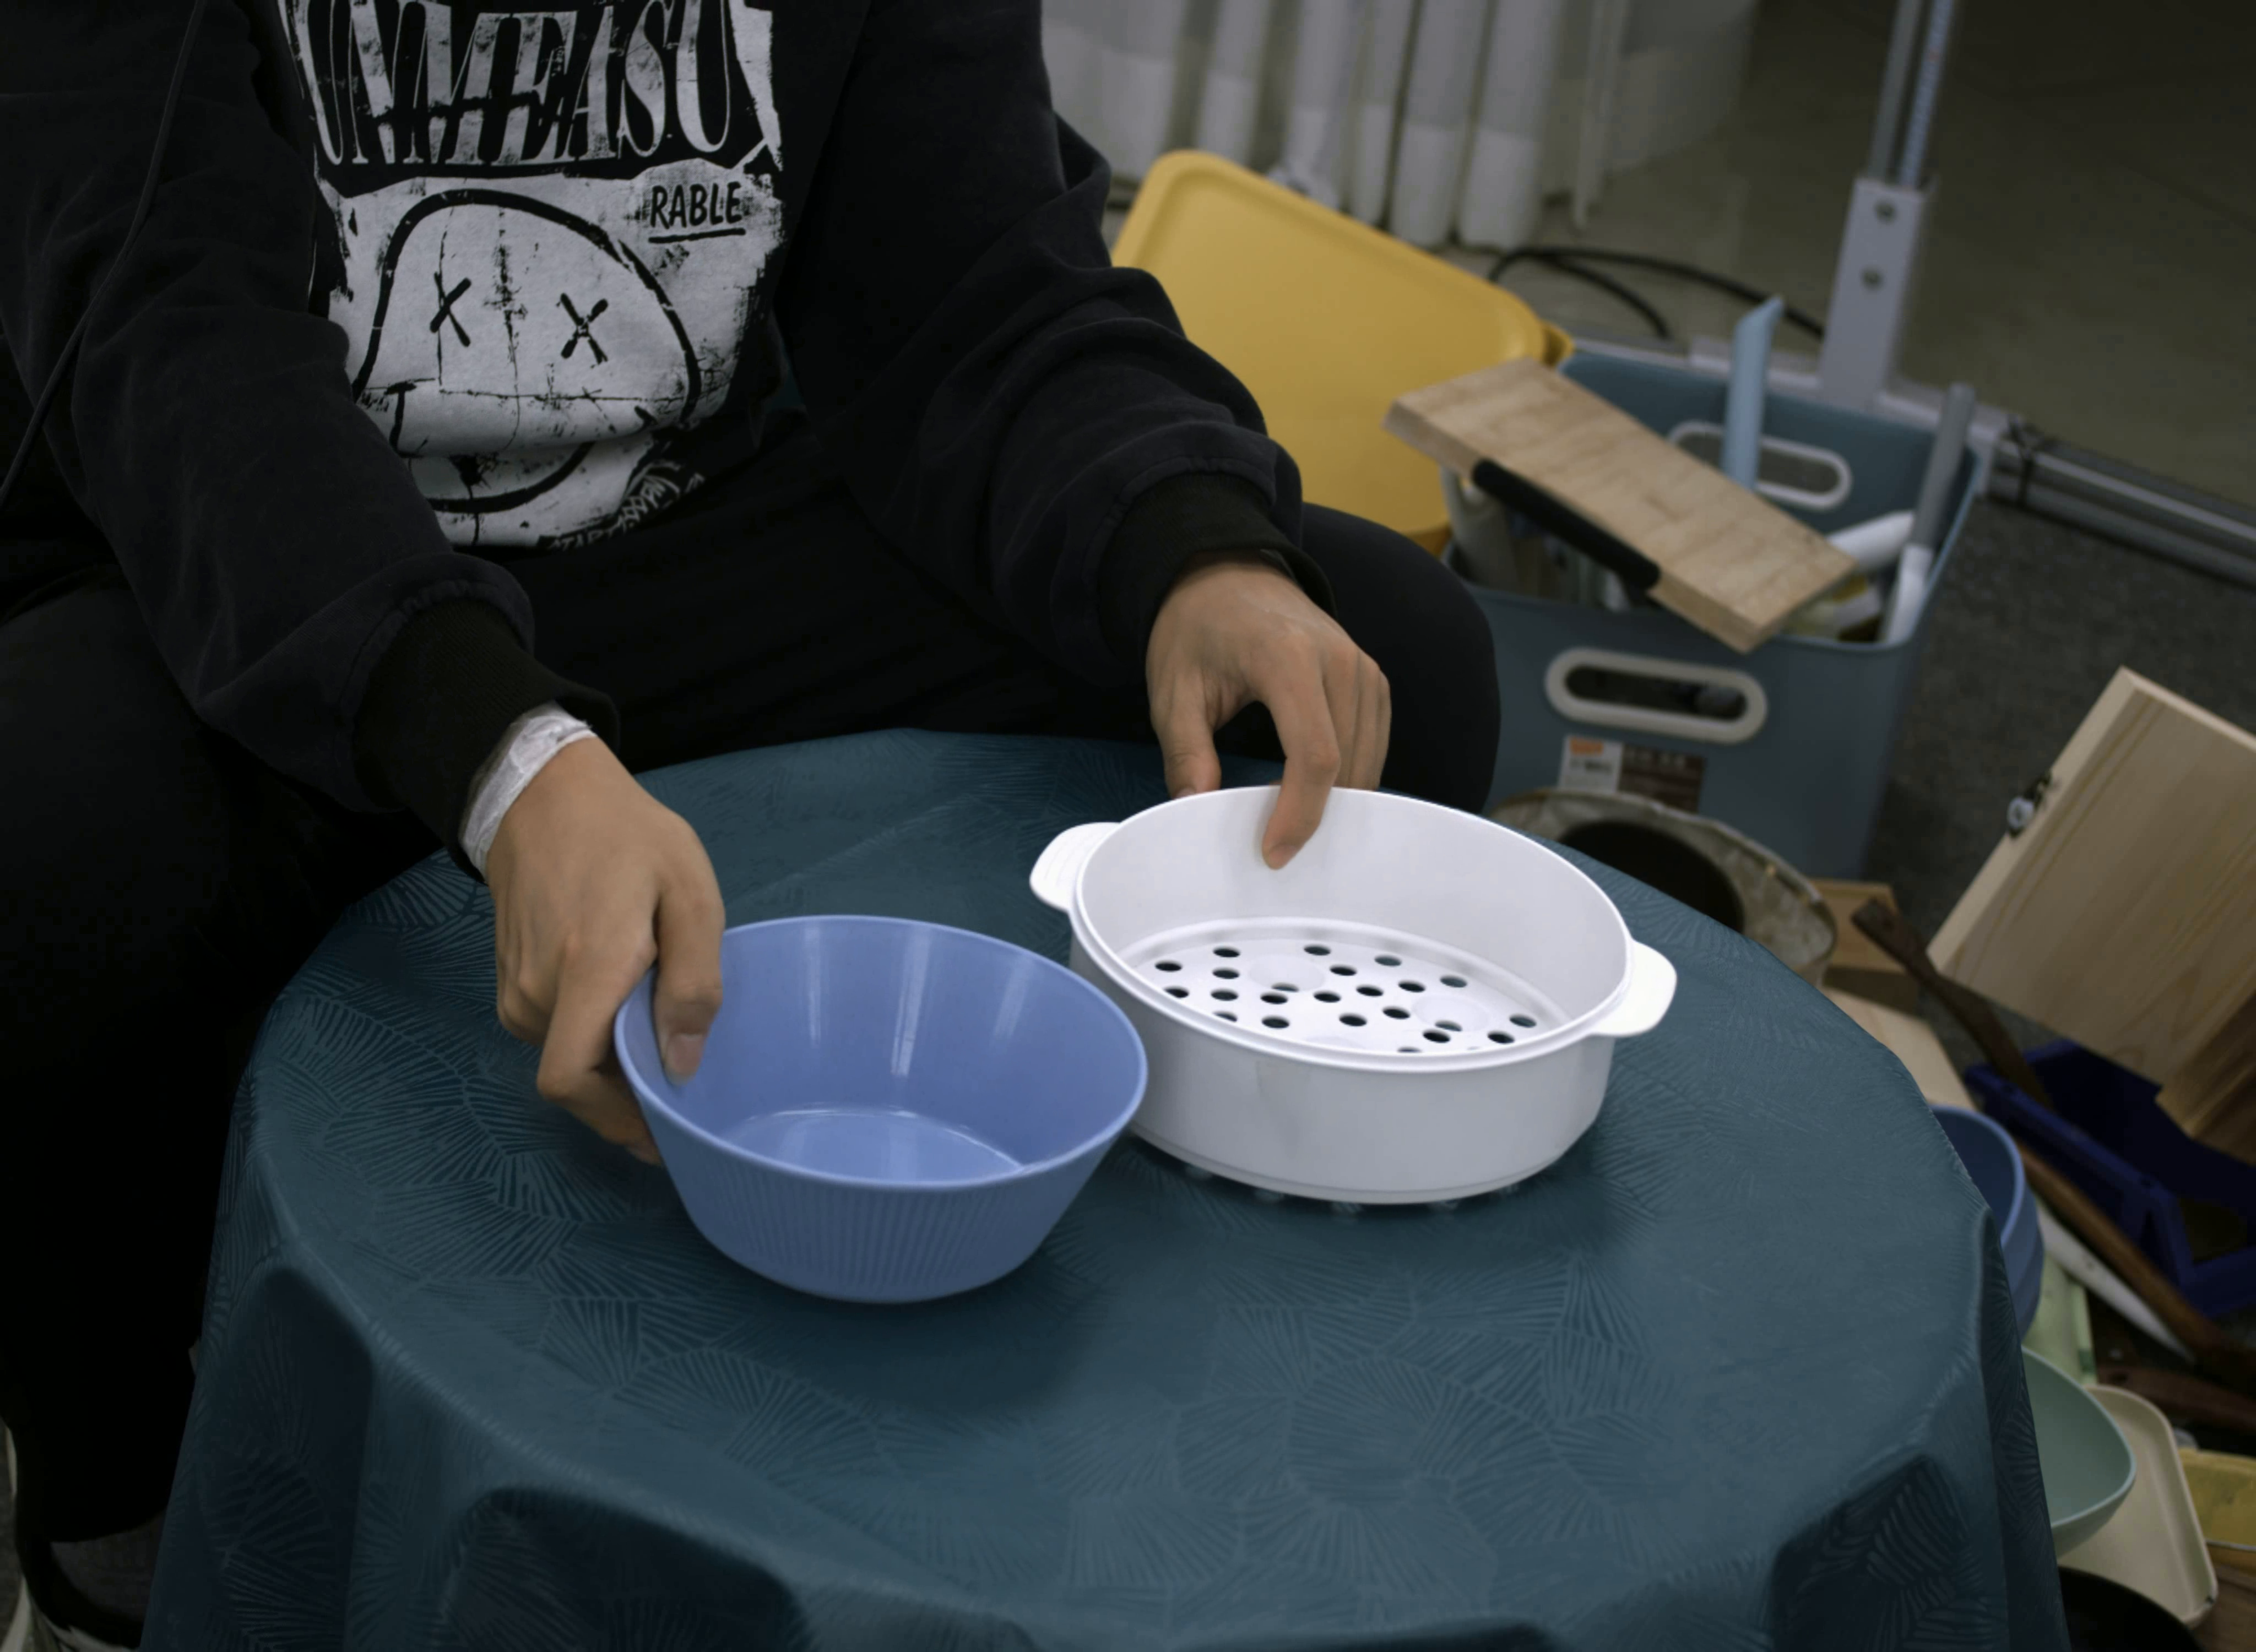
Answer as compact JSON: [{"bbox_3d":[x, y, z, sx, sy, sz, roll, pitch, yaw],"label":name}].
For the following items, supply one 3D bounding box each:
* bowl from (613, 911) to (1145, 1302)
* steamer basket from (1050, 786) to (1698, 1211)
[{"bbox_3d":[-0.085,0.098,1.752,0.175,0.070,0.177,6,28,-3],"label":"bowl"},{"bbox_3d":[0.081,0.060,1.867,0.231,0.069,0.202,15,28,11],"label":"steamer basket"}]
